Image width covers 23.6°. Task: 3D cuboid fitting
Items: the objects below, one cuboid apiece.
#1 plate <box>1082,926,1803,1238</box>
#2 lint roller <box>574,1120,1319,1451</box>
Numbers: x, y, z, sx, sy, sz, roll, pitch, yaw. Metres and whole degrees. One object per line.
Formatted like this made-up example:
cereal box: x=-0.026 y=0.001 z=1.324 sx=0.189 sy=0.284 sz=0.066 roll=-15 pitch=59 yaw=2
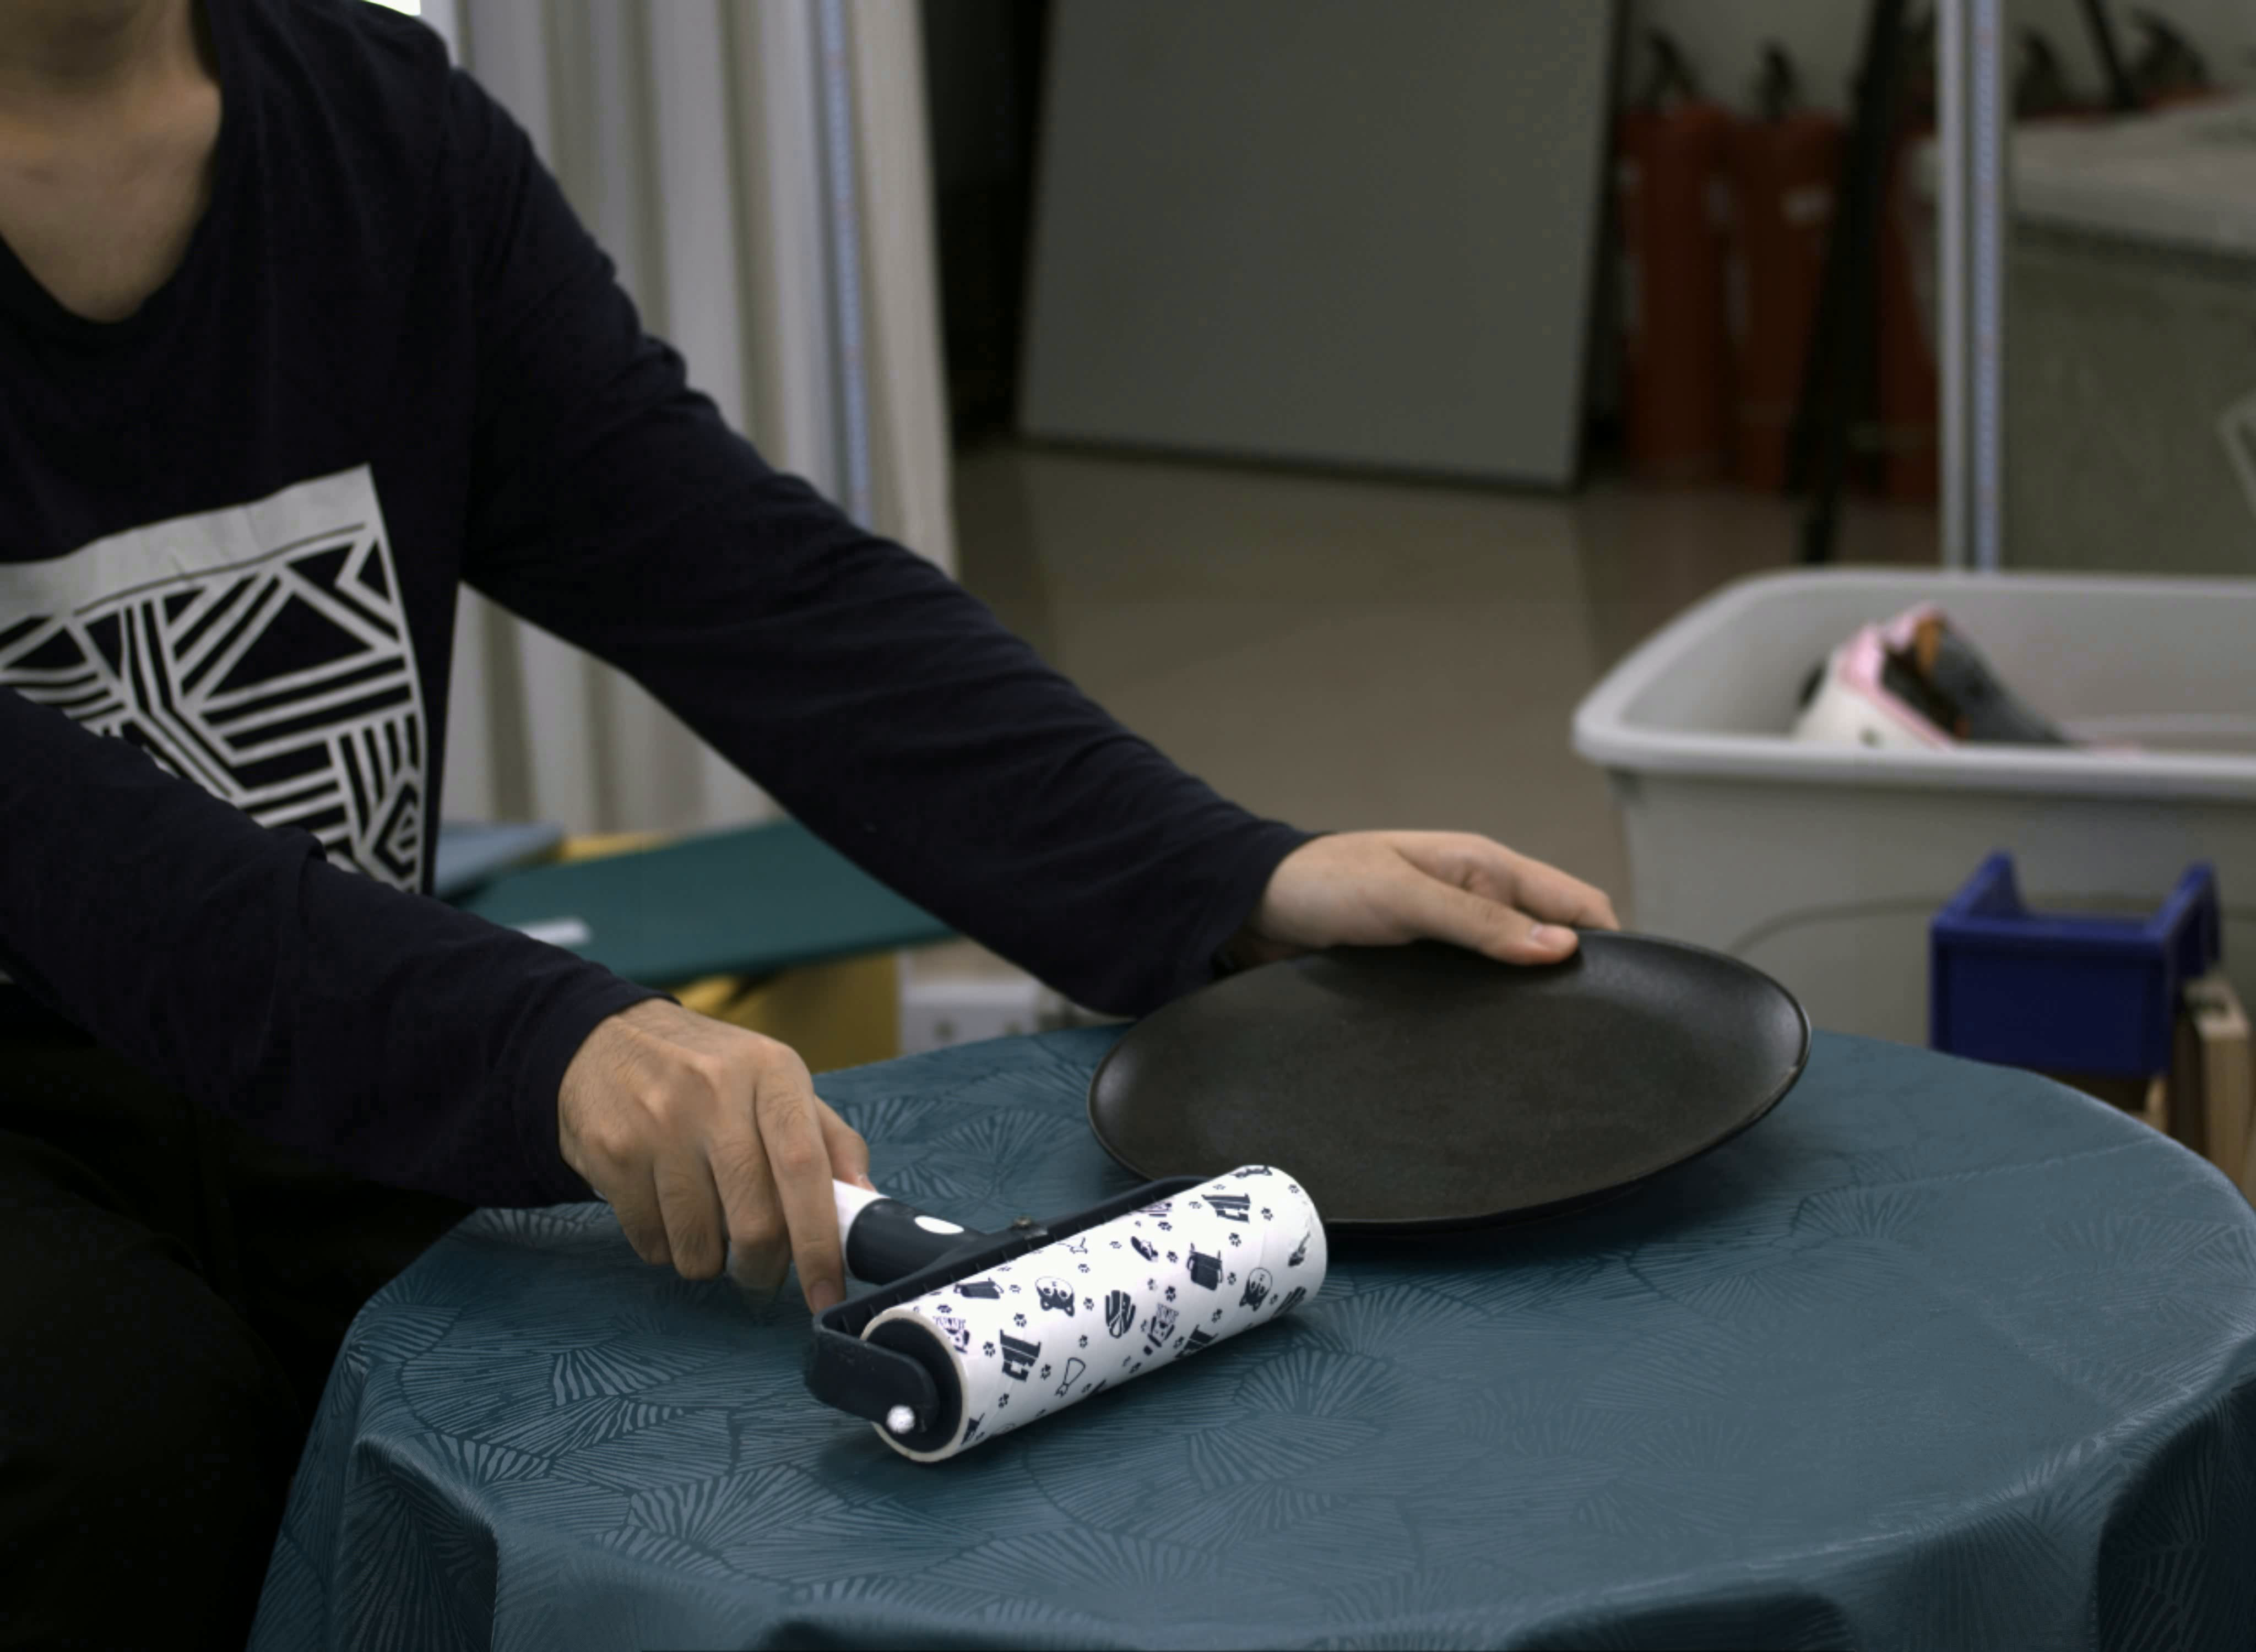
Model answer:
plate: x=0.105 y=0.088 z=1.786 sx=0.241 sy=0.023 sz=0.245 roll=-8 pitch=20 yaw=2
lint roller: x=-0.085 y=0.120 z=1.654 sx=0.249 sy=0.051 sz=0.173 roll=15 pitch=22 yaw=41
